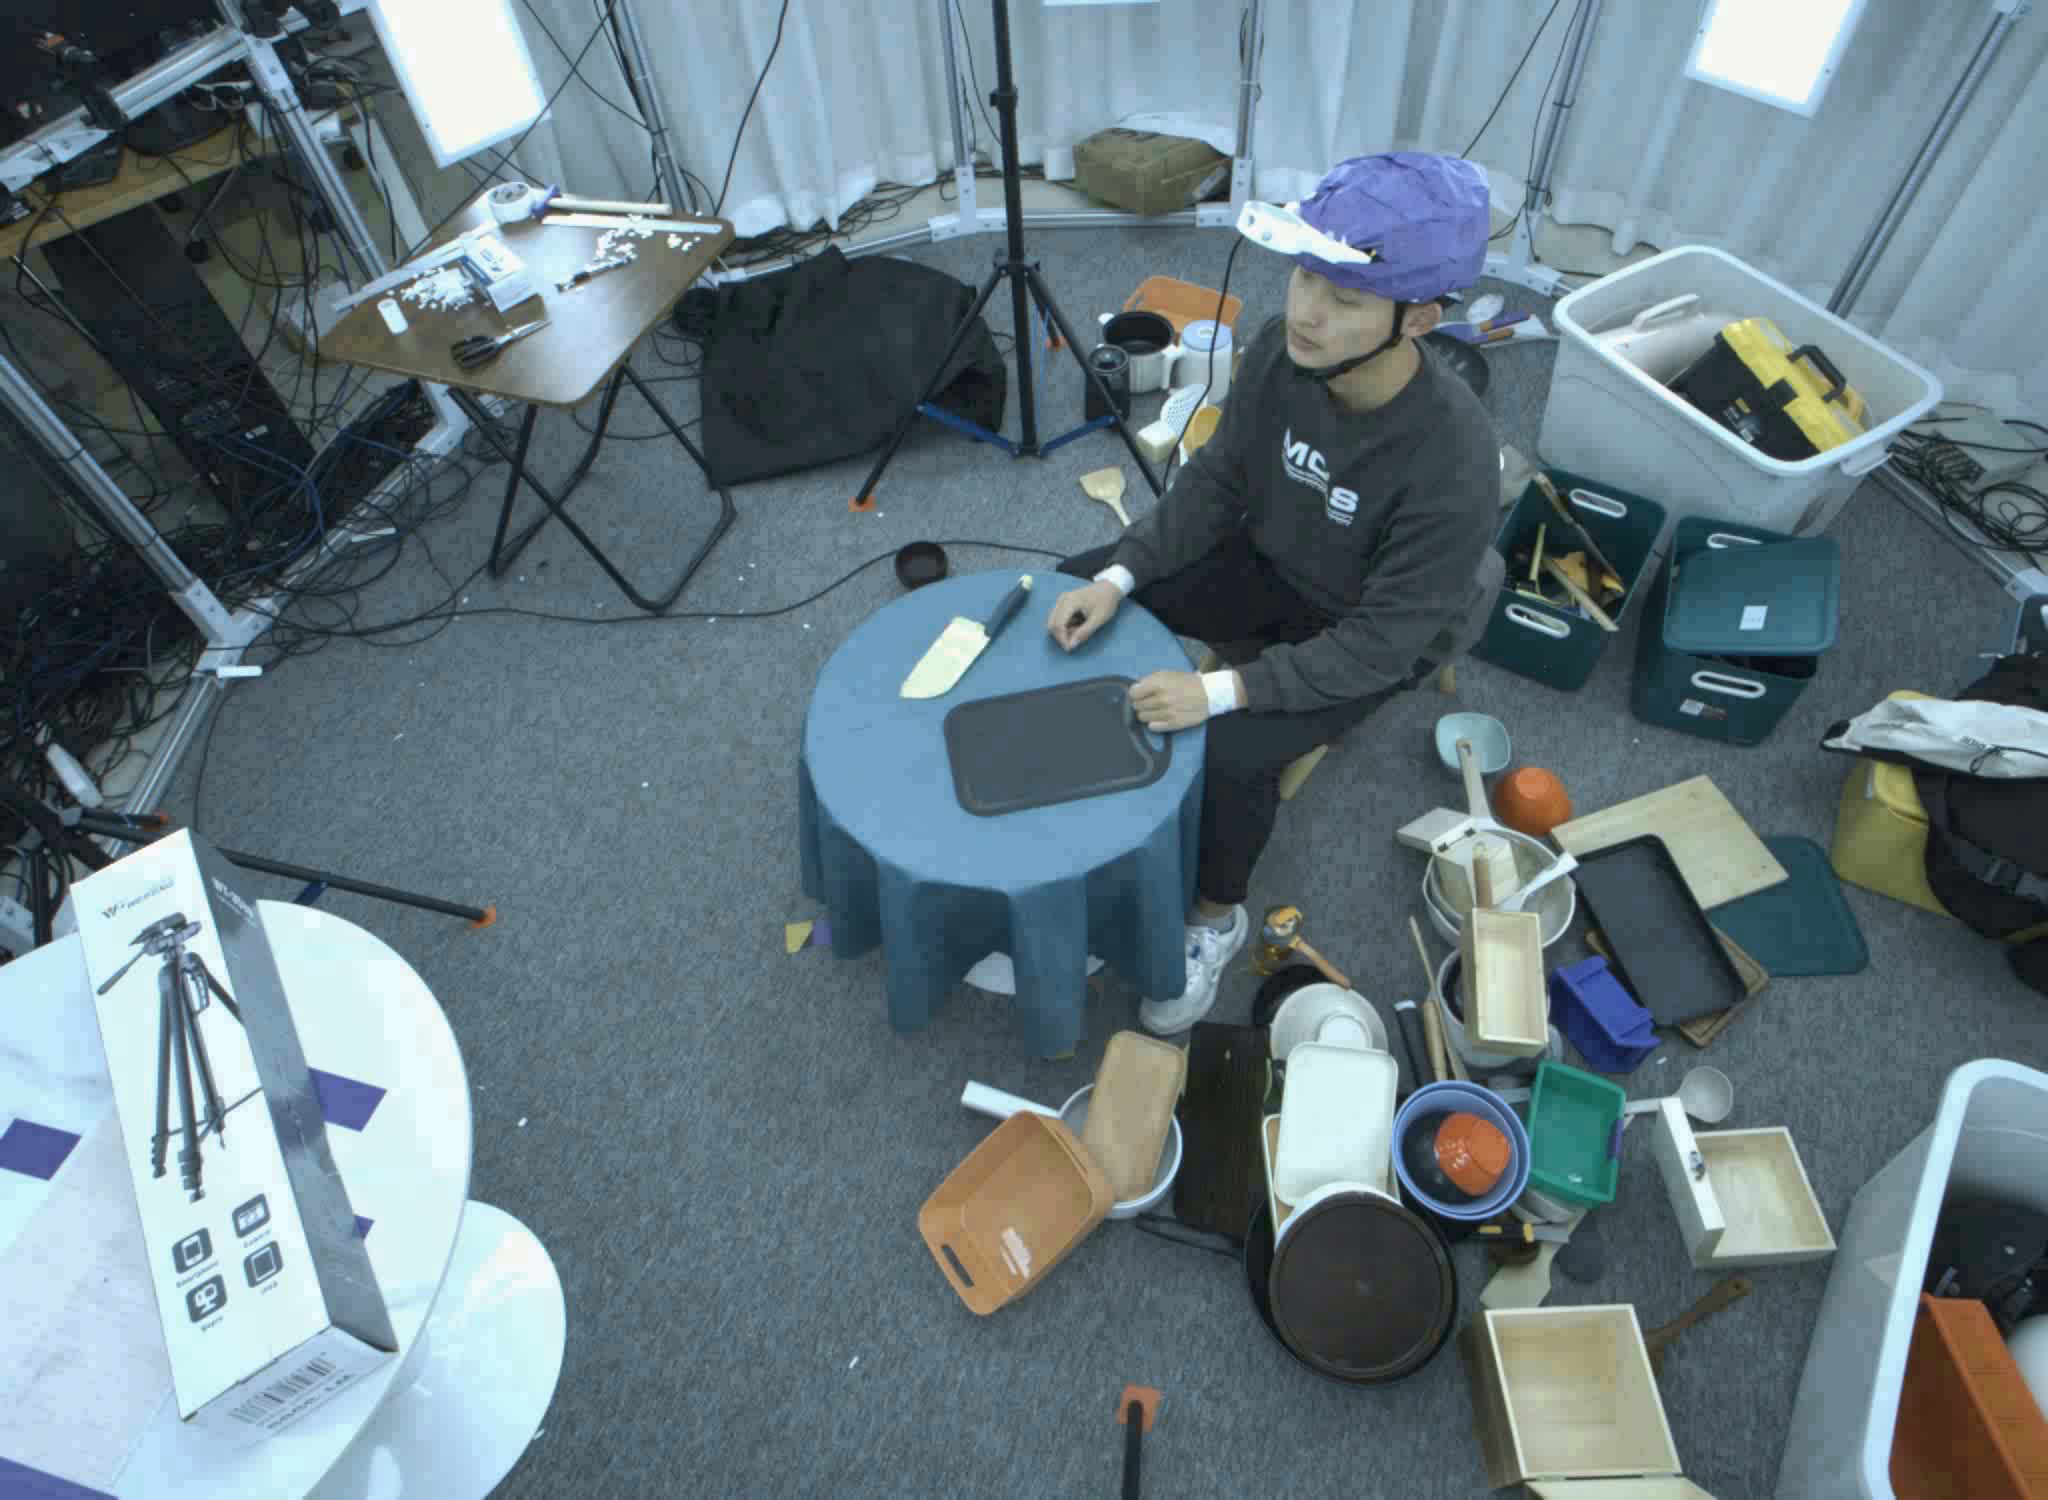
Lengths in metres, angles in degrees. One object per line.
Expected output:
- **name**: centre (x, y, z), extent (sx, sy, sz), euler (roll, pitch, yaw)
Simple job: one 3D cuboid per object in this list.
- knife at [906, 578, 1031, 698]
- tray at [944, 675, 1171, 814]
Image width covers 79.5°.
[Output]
- **knife**: centre (-0.086, -0.178, 1.915), extent (0.080, 0.027, 0.291), euler (30, 61, 20)
- **tray**: centre (0.051, -0.015, 1.800), extent (0.327, 0.010, 0.208), euler (-10, 55, -6)
